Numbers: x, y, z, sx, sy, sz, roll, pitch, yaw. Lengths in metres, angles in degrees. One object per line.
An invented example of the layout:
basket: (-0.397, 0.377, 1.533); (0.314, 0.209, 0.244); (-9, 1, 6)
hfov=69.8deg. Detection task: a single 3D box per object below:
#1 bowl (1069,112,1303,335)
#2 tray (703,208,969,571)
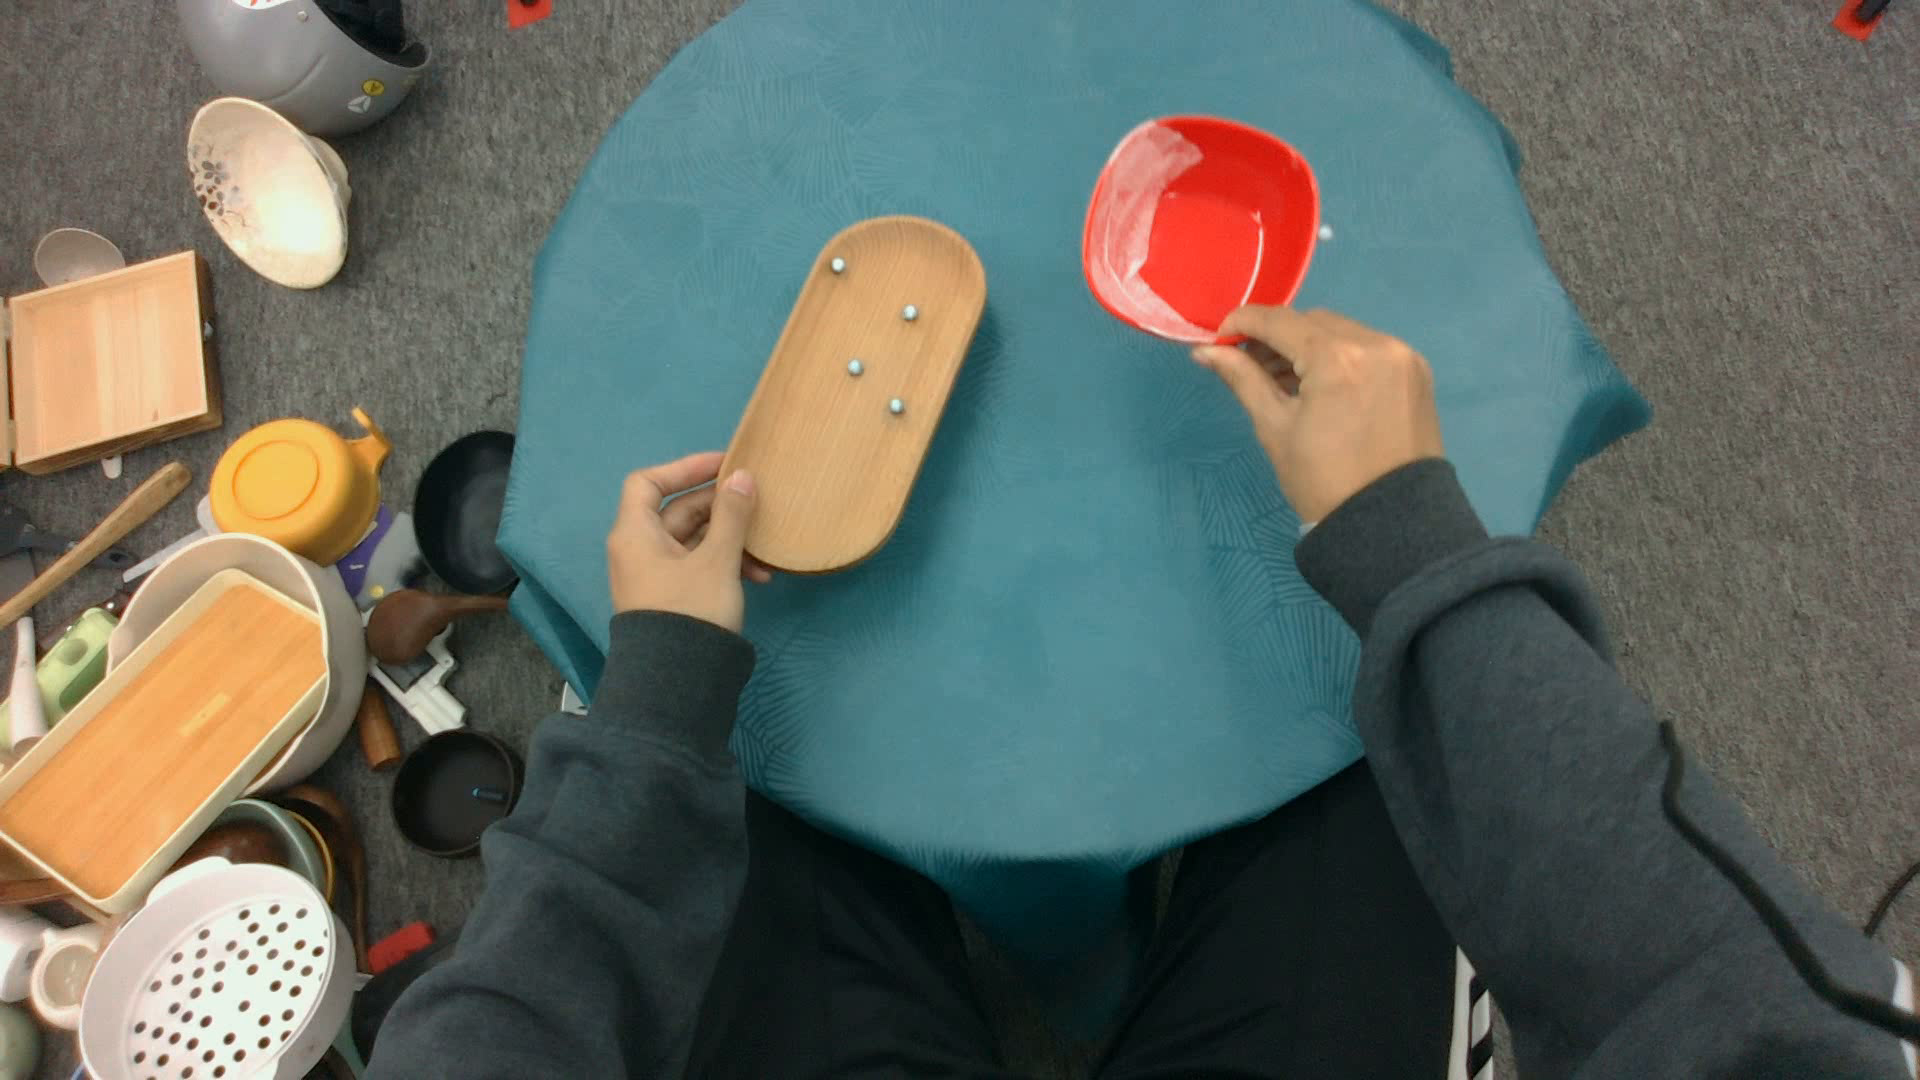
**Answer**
bowl: (0.112, -0.152, 0.693); (0.119, 0.051, 0.119); (-1, 80, 6)
tray: (-0.064, -0.086, 0.750); (0.101, 0.020, 0.232); (15, 67, 8)
